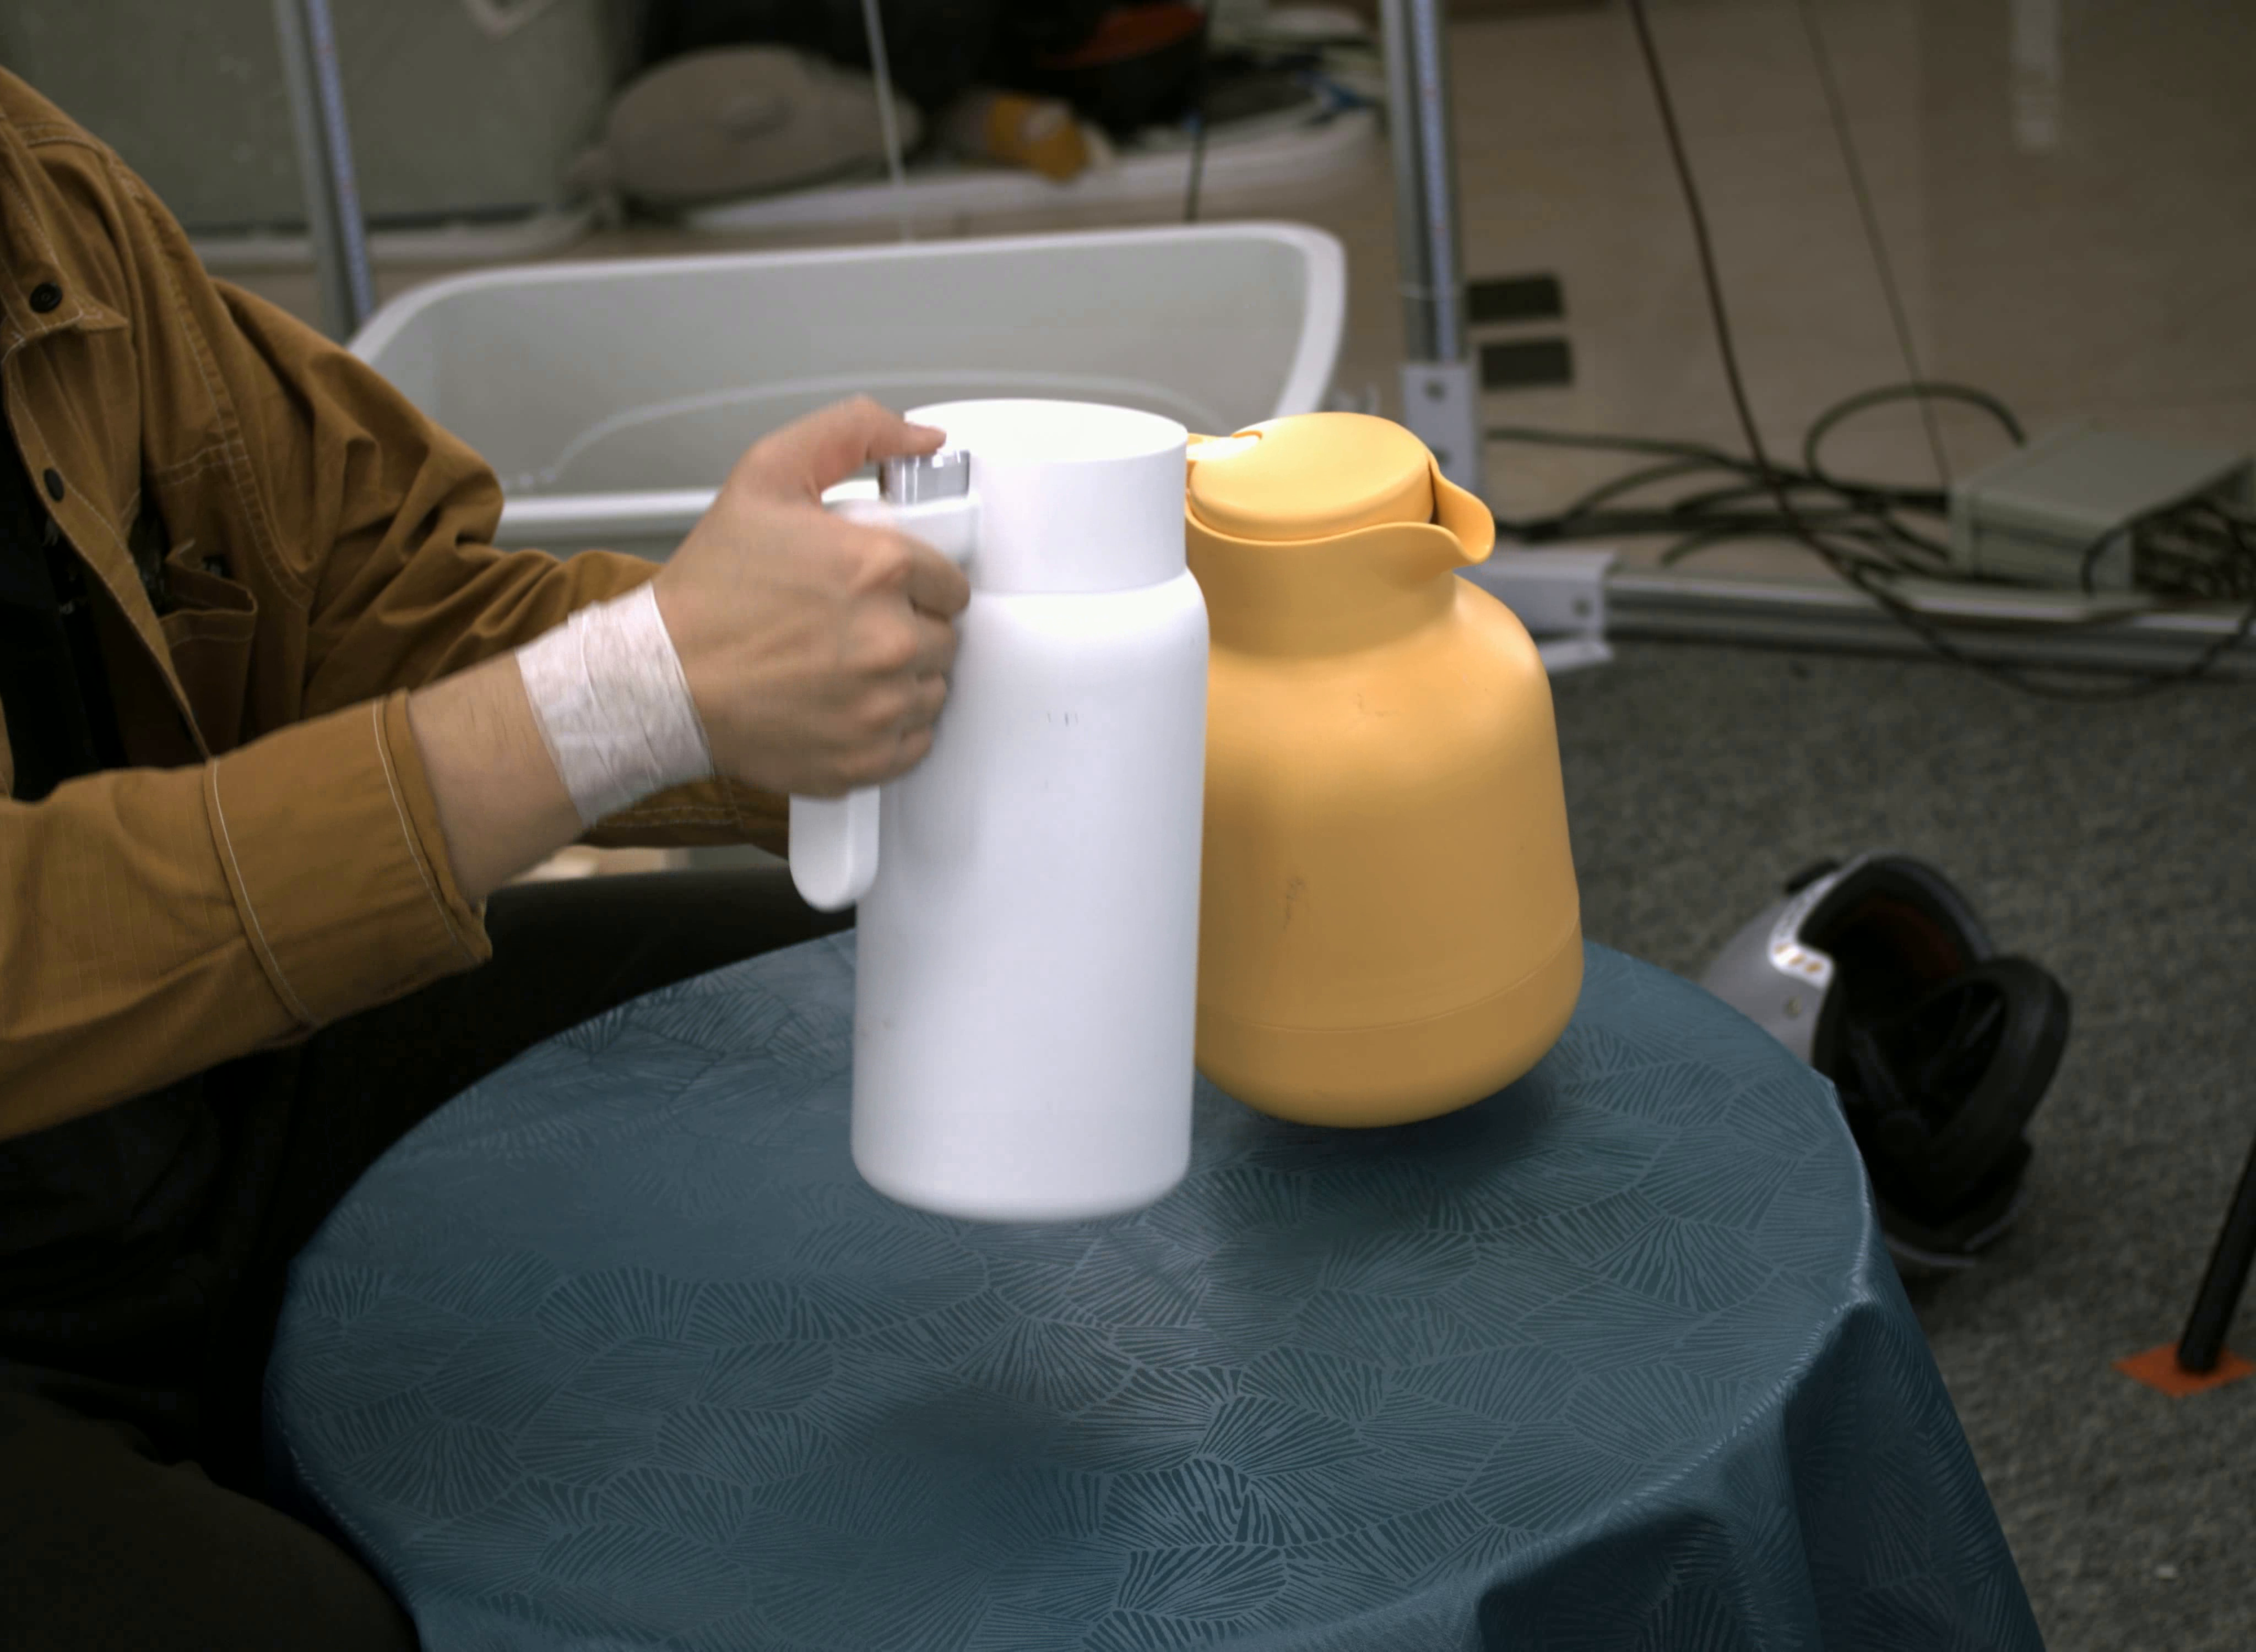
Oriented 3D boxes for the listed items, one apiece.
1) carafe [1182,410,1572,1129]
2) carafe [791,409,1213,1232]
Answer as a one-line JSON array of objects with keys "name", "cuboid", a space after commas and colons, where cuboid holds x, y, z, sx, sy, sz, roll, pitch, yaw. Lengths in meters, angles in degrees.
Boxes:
[{"name": "carafe", "cuboid": [0.066, -0.031, 2.143, 0.201, 0.265, 0.161, 16, 35, 34]}, {"name": "carafe", "cuboid": [-0.042, 0.000, 1.912, 0.123, 0.272, 0.172, 19, 24, 38]}]
